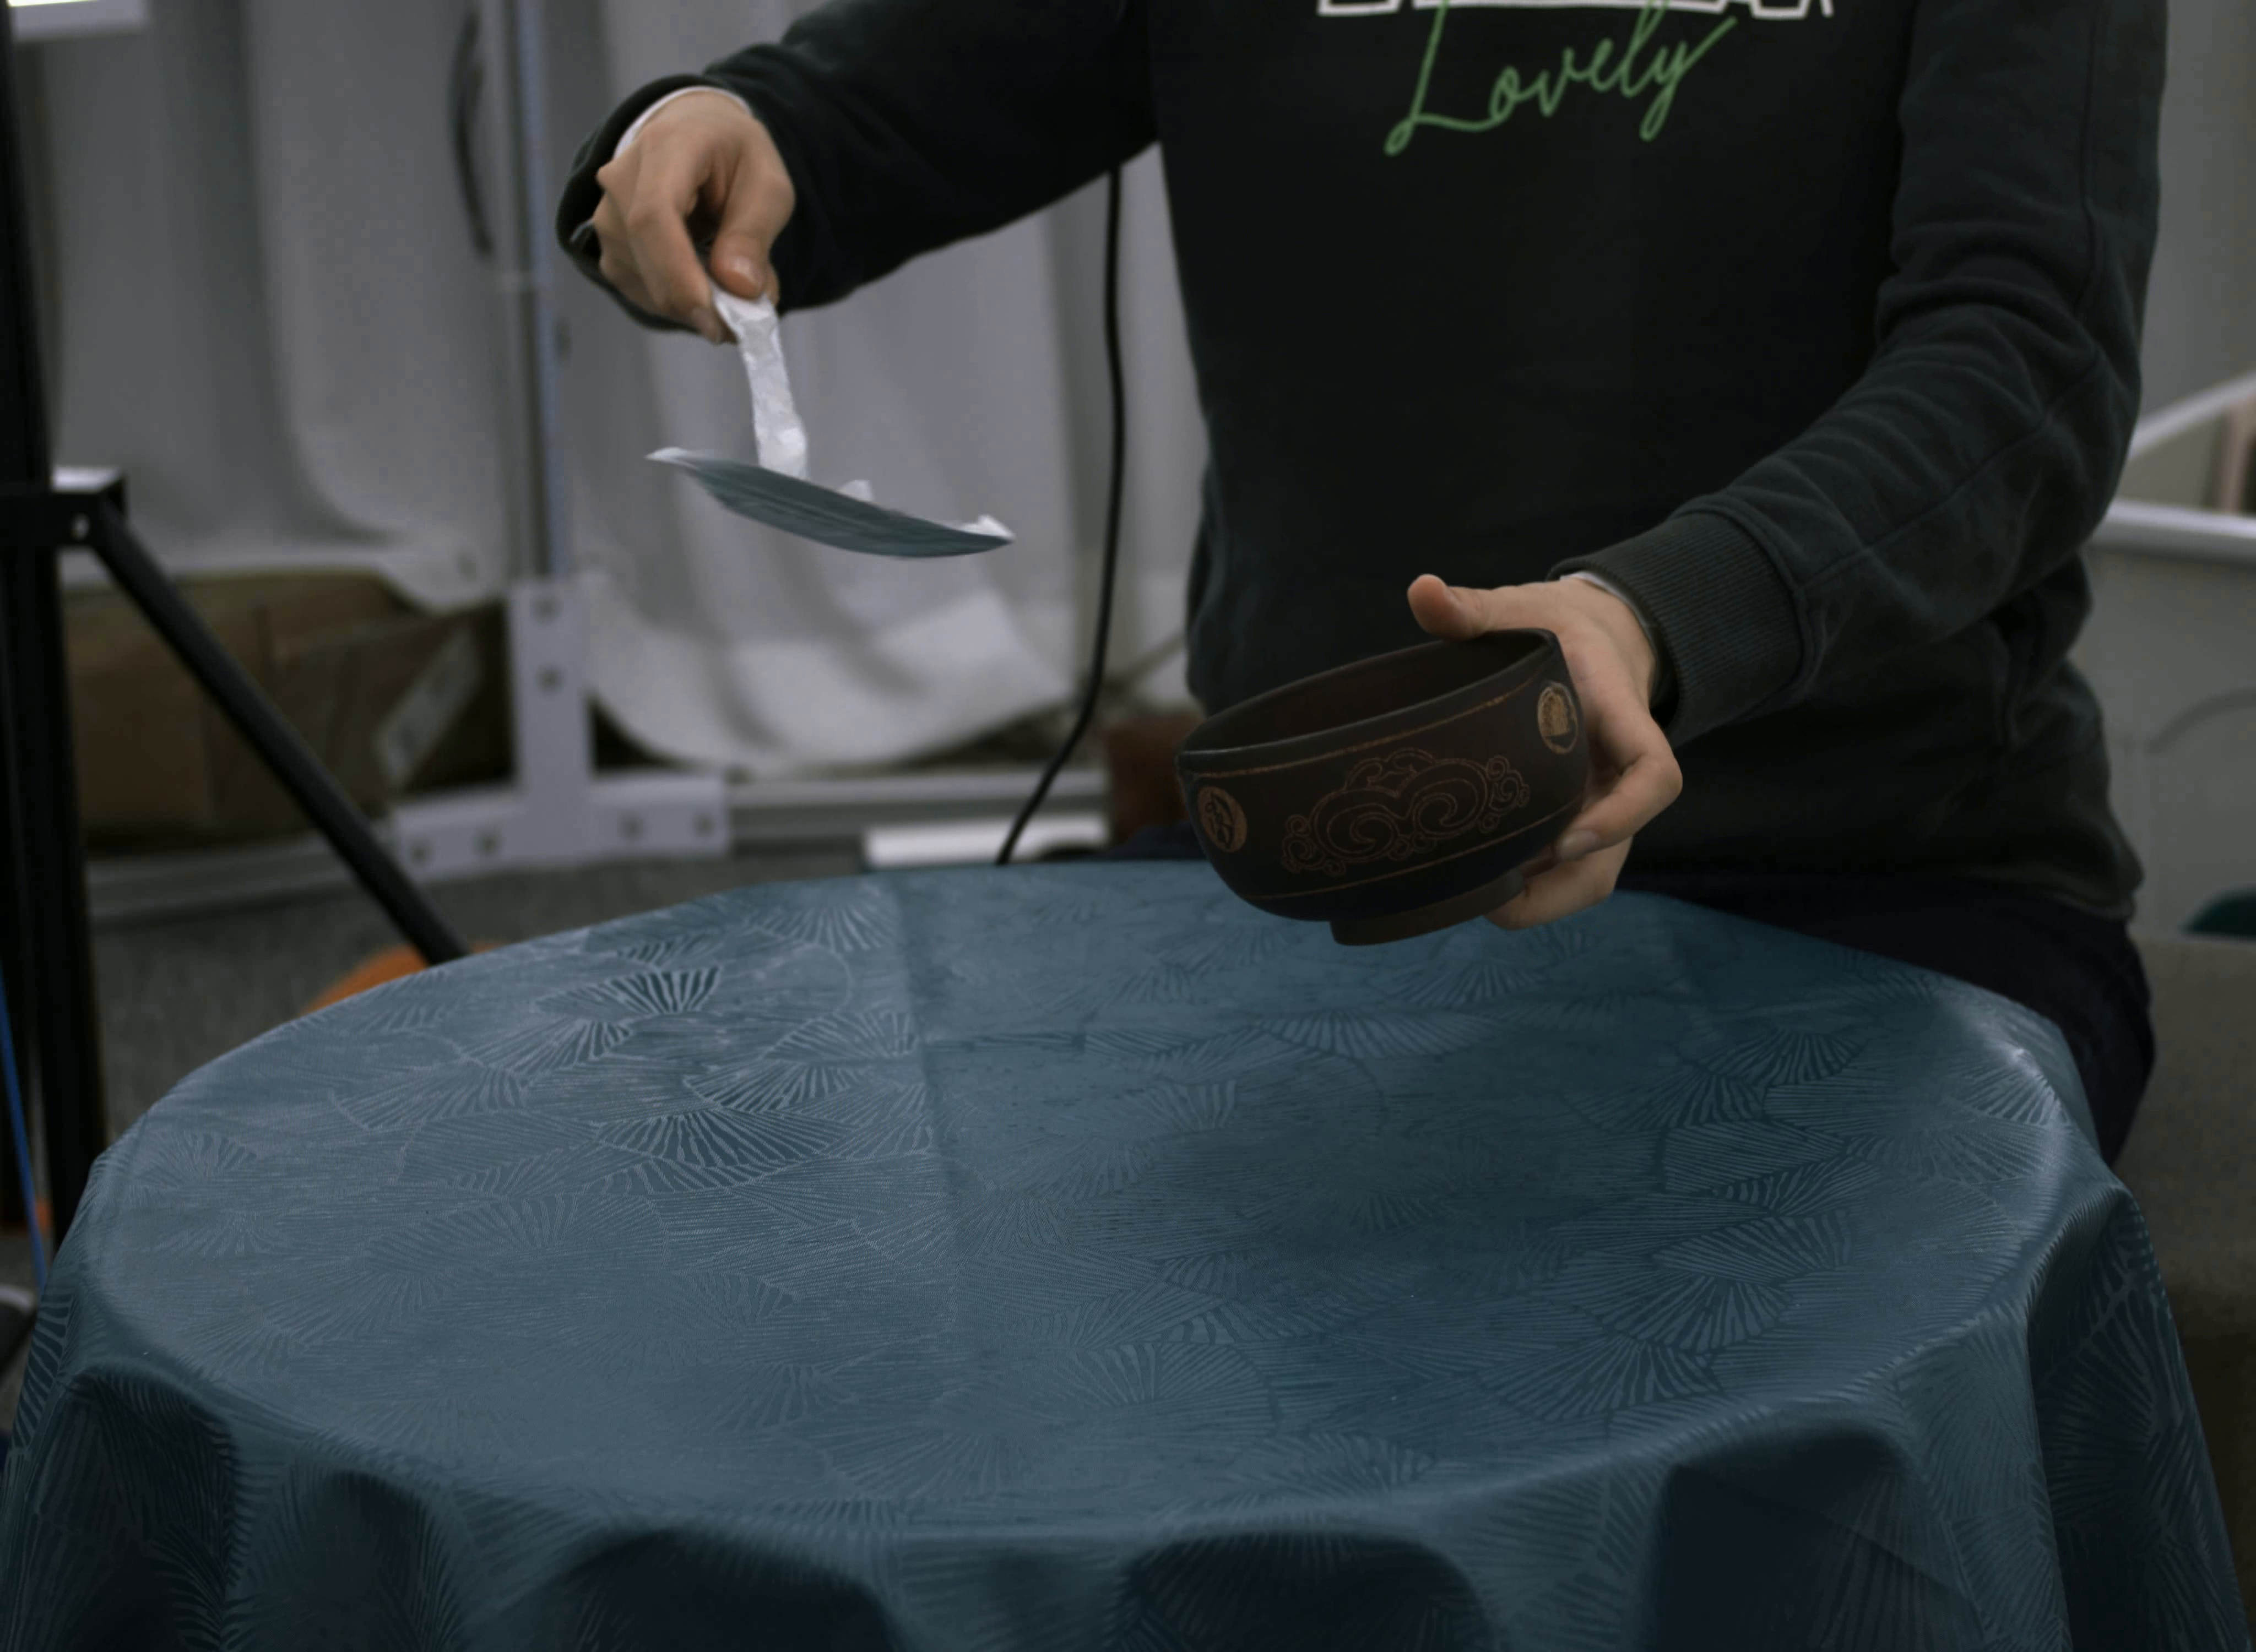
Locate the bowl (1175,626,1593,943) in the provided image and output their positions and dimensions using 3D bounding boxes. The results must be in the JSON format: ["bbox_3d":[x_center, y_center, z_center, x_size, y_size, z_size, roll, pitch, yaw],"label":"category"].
[{"bbox_3d":[0.078,-0.007,1.521,0.117,0.070,0.118,-15,8,1],"label":"bowl"}]

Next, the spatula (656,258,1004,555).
[{"bbox_3d":[-0.107,-0.140,1.634,0.097,0.045,0.369,15,18,-14],"label":"spatula"}]
